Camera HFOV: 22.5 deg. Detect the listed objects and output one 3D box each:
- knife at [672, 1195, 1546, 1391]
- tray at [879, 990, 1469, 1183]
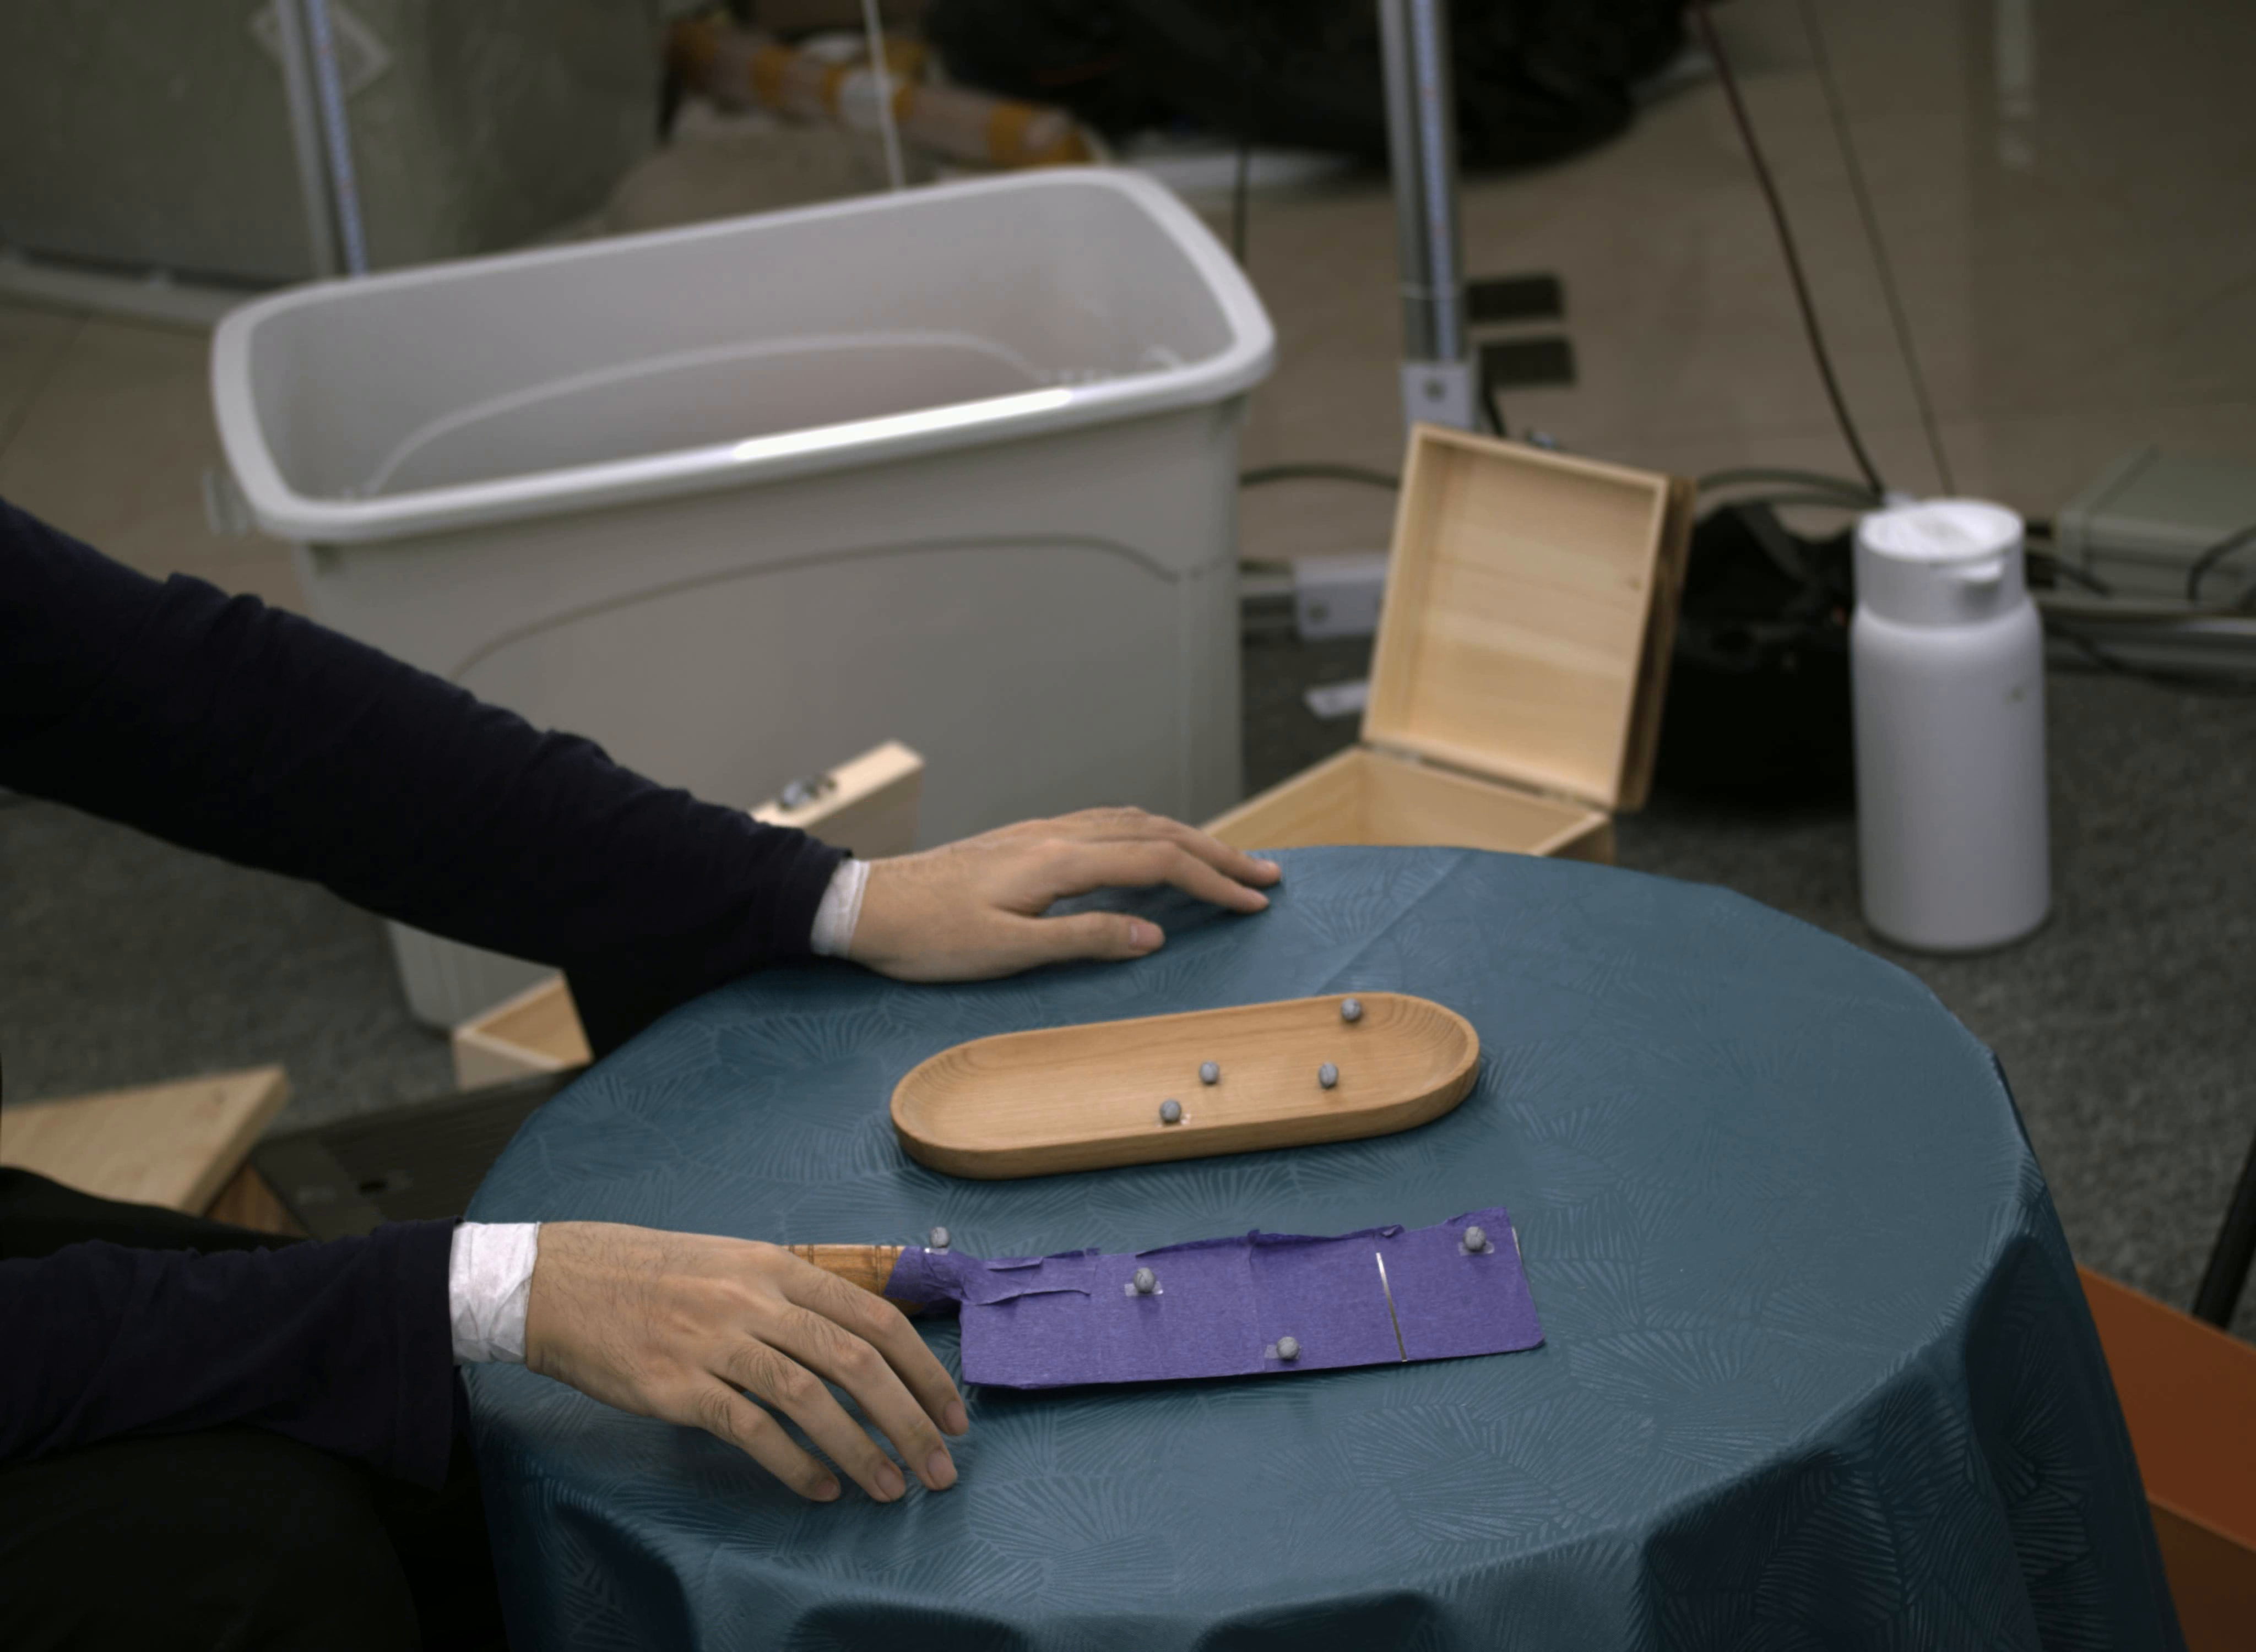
[{"bbox_3d":[-0.009,0.172,2.050,0.315,0.033,0.102,-6,25,0],"label":"knife"},{"bbox_3d":[0.018,0.102,2.207,0.231,0.020,0.100,-9,24,0],"label":"tray"}]
